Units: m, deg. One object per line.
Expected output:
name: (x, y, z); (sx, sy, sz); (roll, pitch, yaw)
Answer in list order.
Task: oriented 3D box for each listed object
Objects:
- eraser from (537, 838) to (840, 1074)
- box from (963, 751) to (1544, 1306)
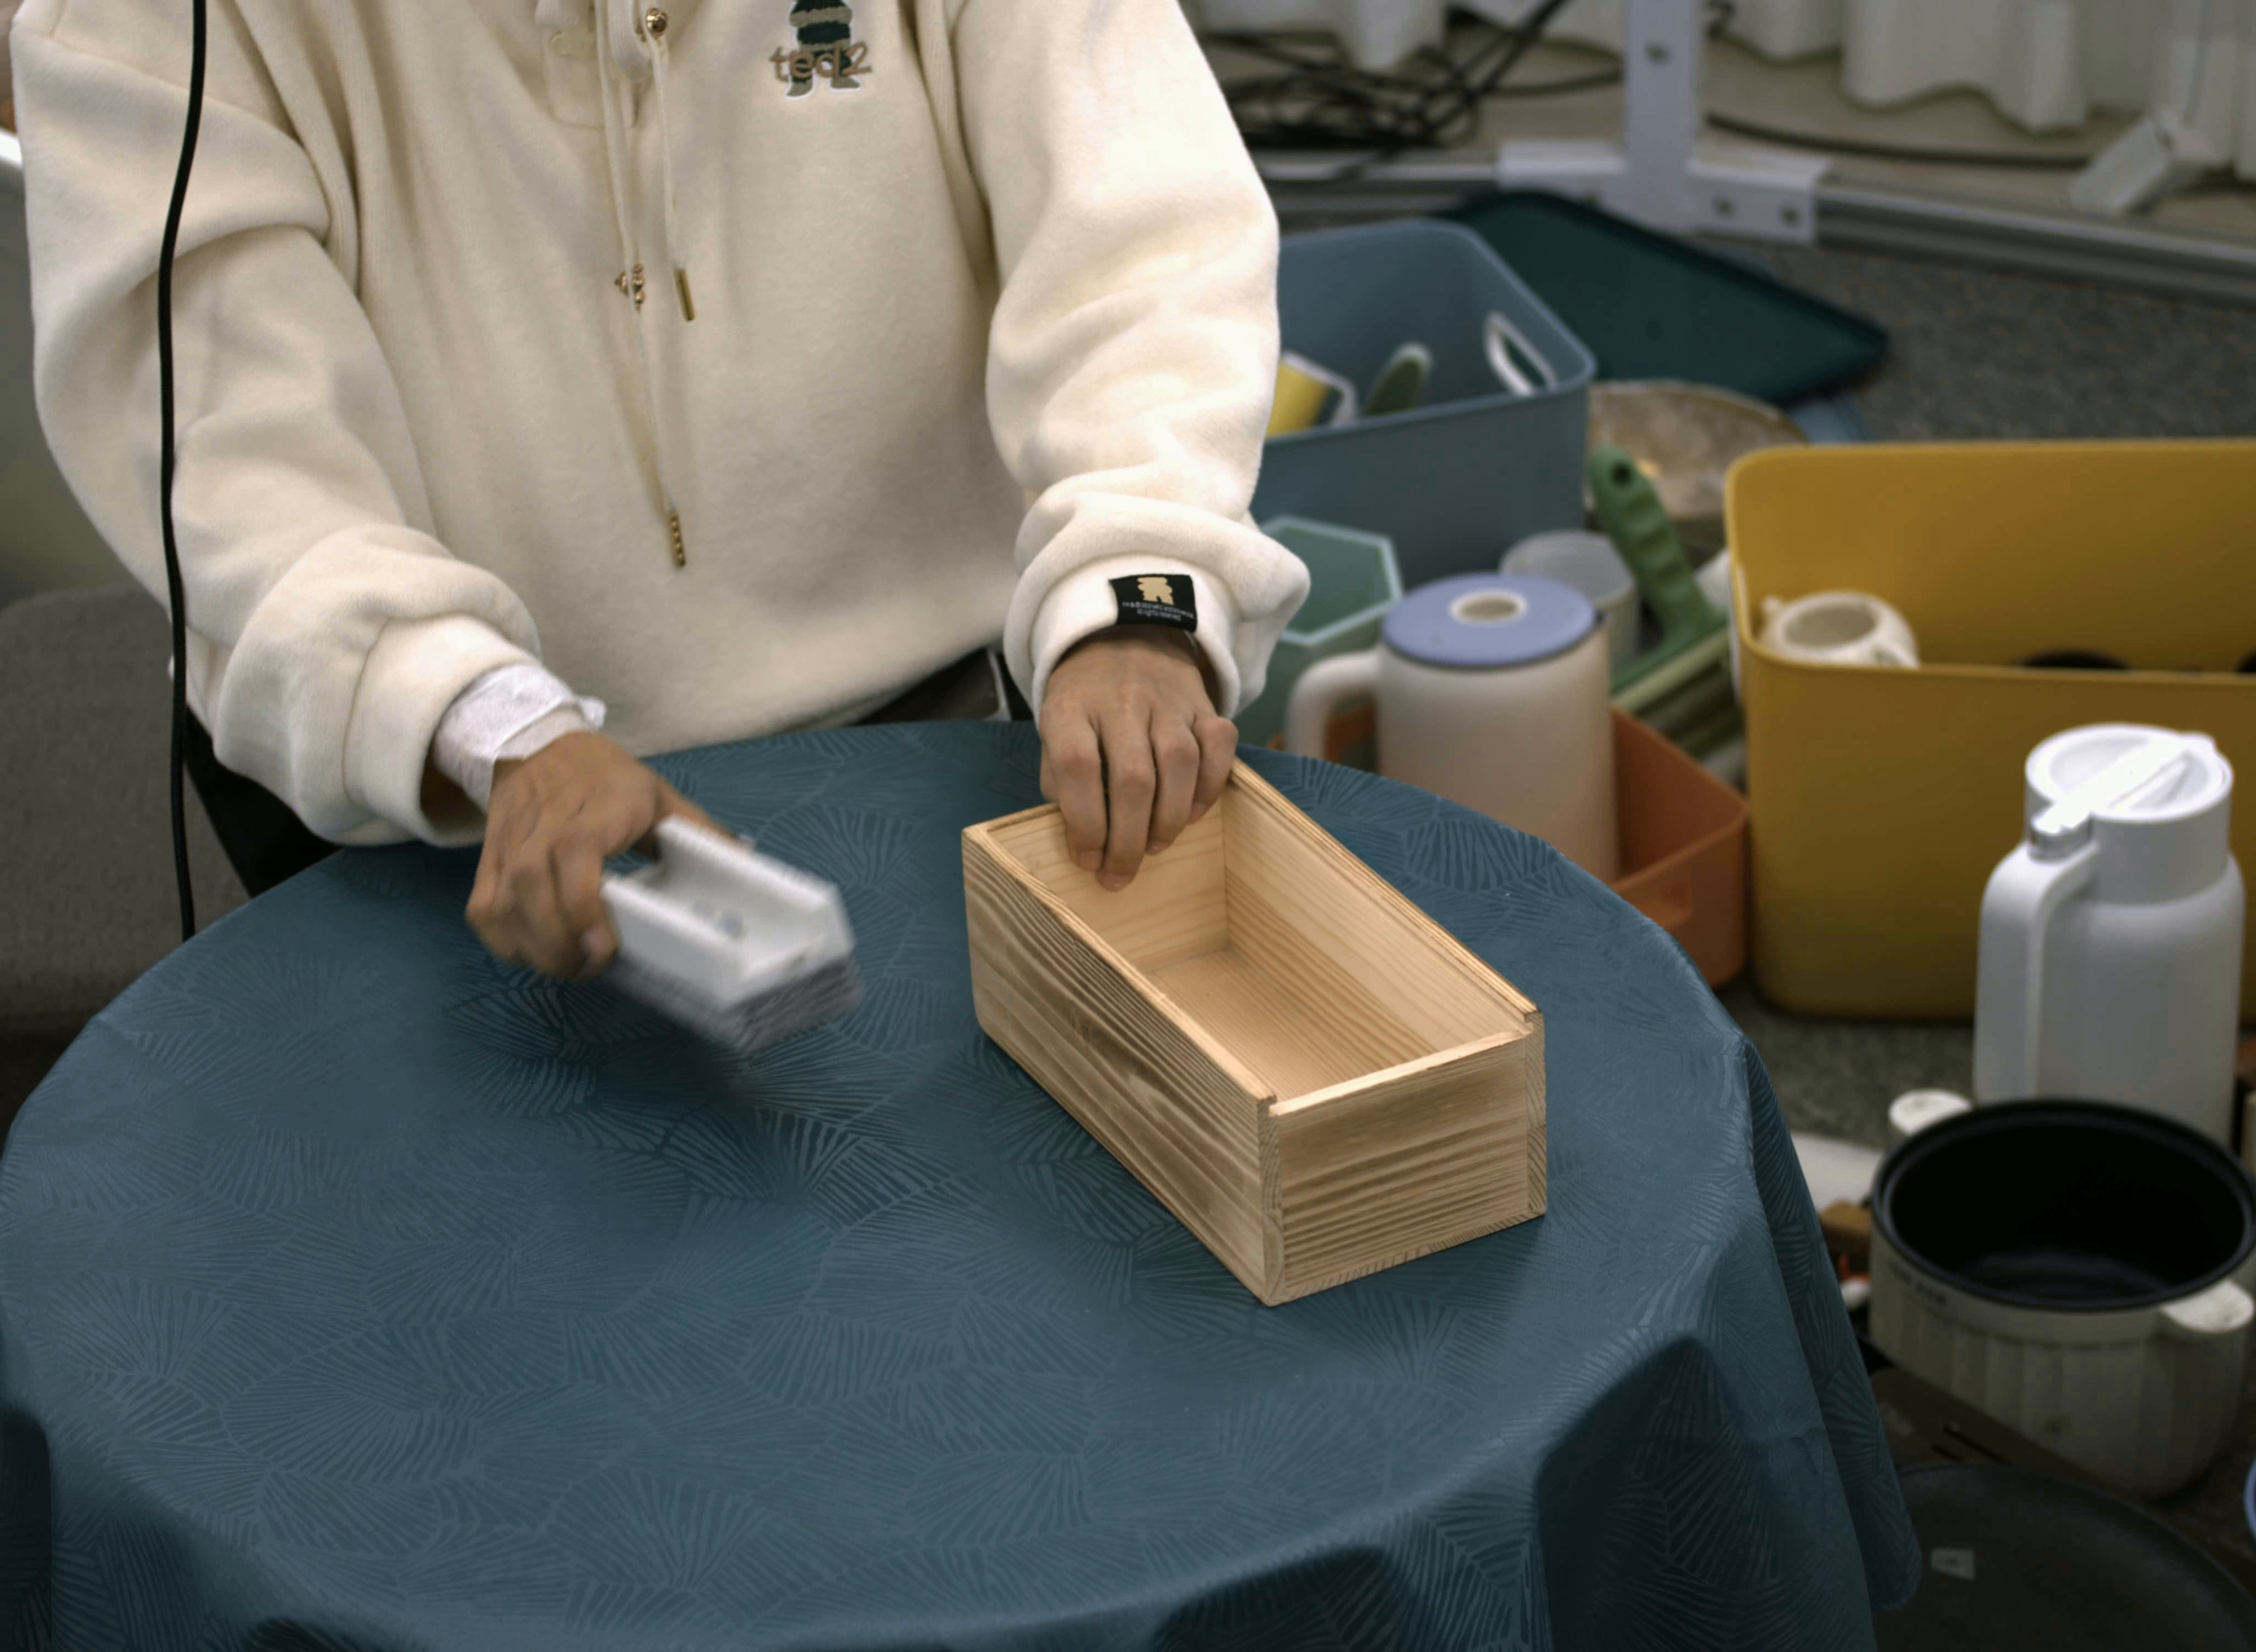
eraser: (-0.148, 0.043, 1.907); (0.050, 0.046, 0.134); (-23, 22, -24)
box: (0.039, 0.064, 1.882); (0.108, 0.079, 0.212); (-16, 31, -24)
